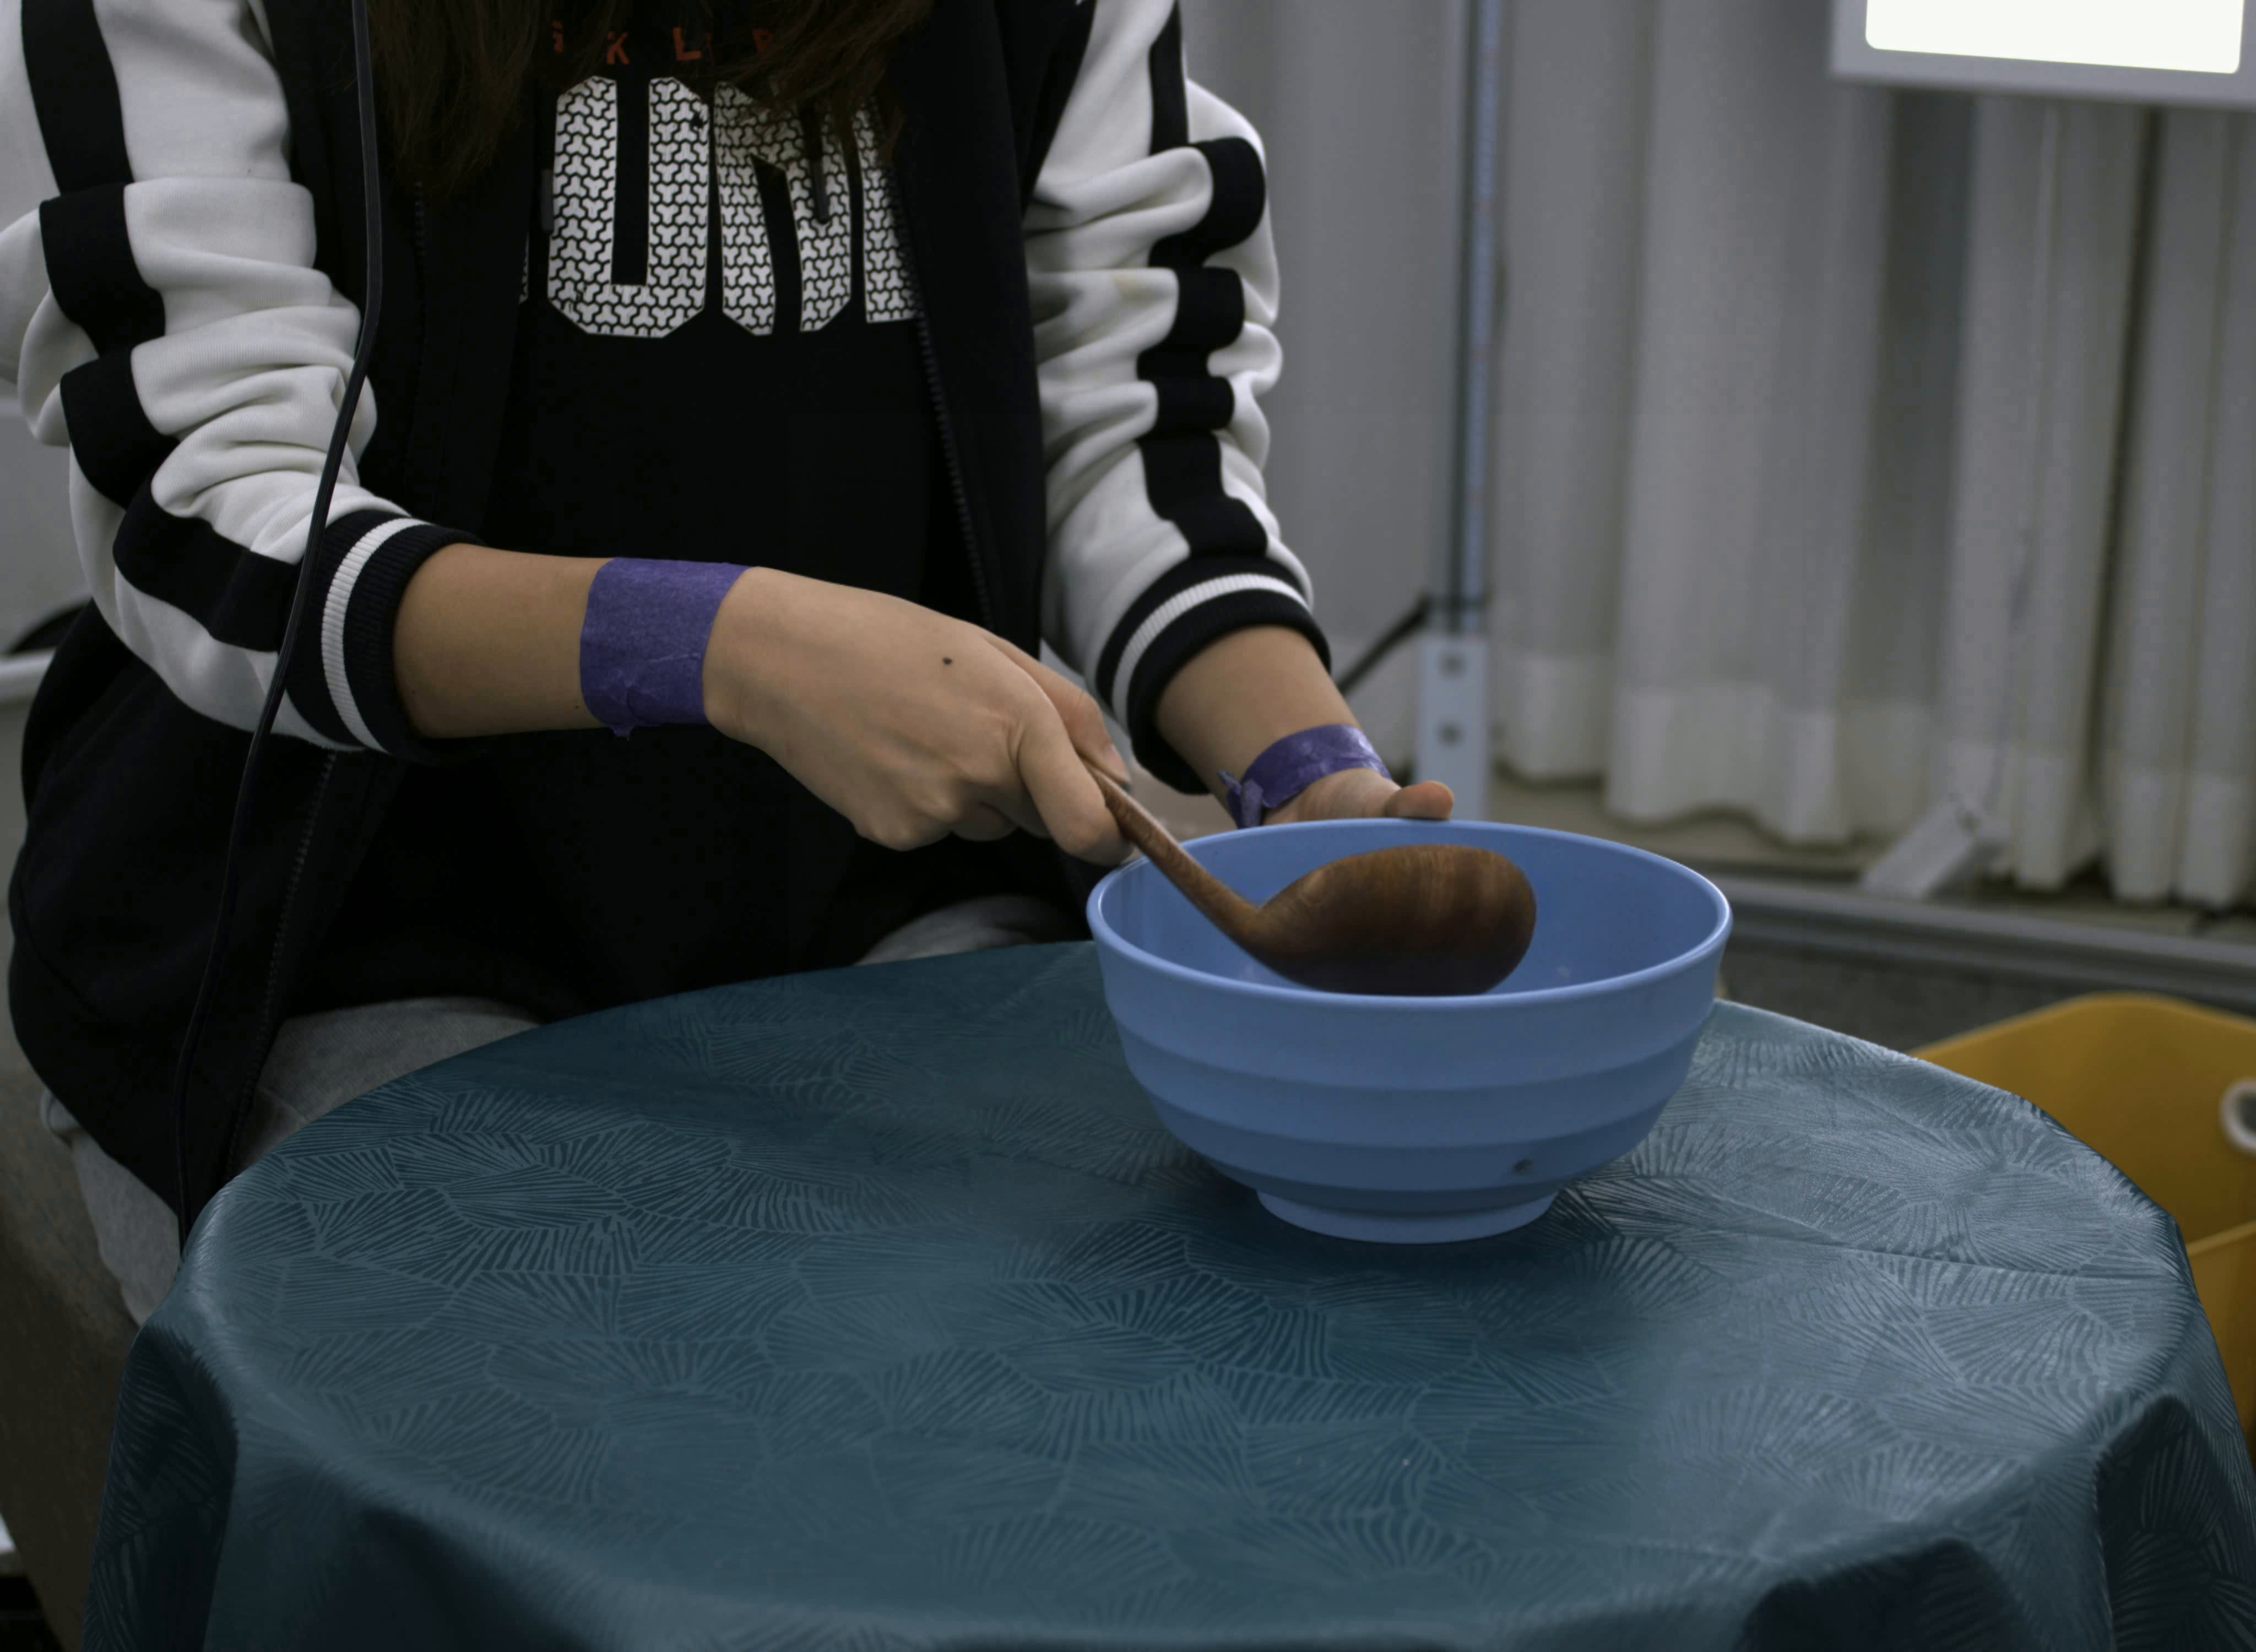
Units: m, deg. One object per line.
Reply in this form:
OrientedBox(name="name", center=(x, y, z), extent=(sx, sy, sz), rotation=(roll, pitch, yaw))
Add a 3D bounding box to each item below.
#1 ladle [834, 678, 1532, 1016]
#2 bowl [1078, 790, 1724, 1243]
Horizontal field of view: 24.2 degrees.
OrientedBox(name="ladle", center=(0.014, -0.007, 1.625), extent=(0.256, 0.077, 0.065), rotation=(30, 74, 36))
OrientedBox(name="bowl", center=(0.085, 0.066, 1.615), extent=(0.196, 0.096, 0.195), rotation=(-2, 21, 1))
